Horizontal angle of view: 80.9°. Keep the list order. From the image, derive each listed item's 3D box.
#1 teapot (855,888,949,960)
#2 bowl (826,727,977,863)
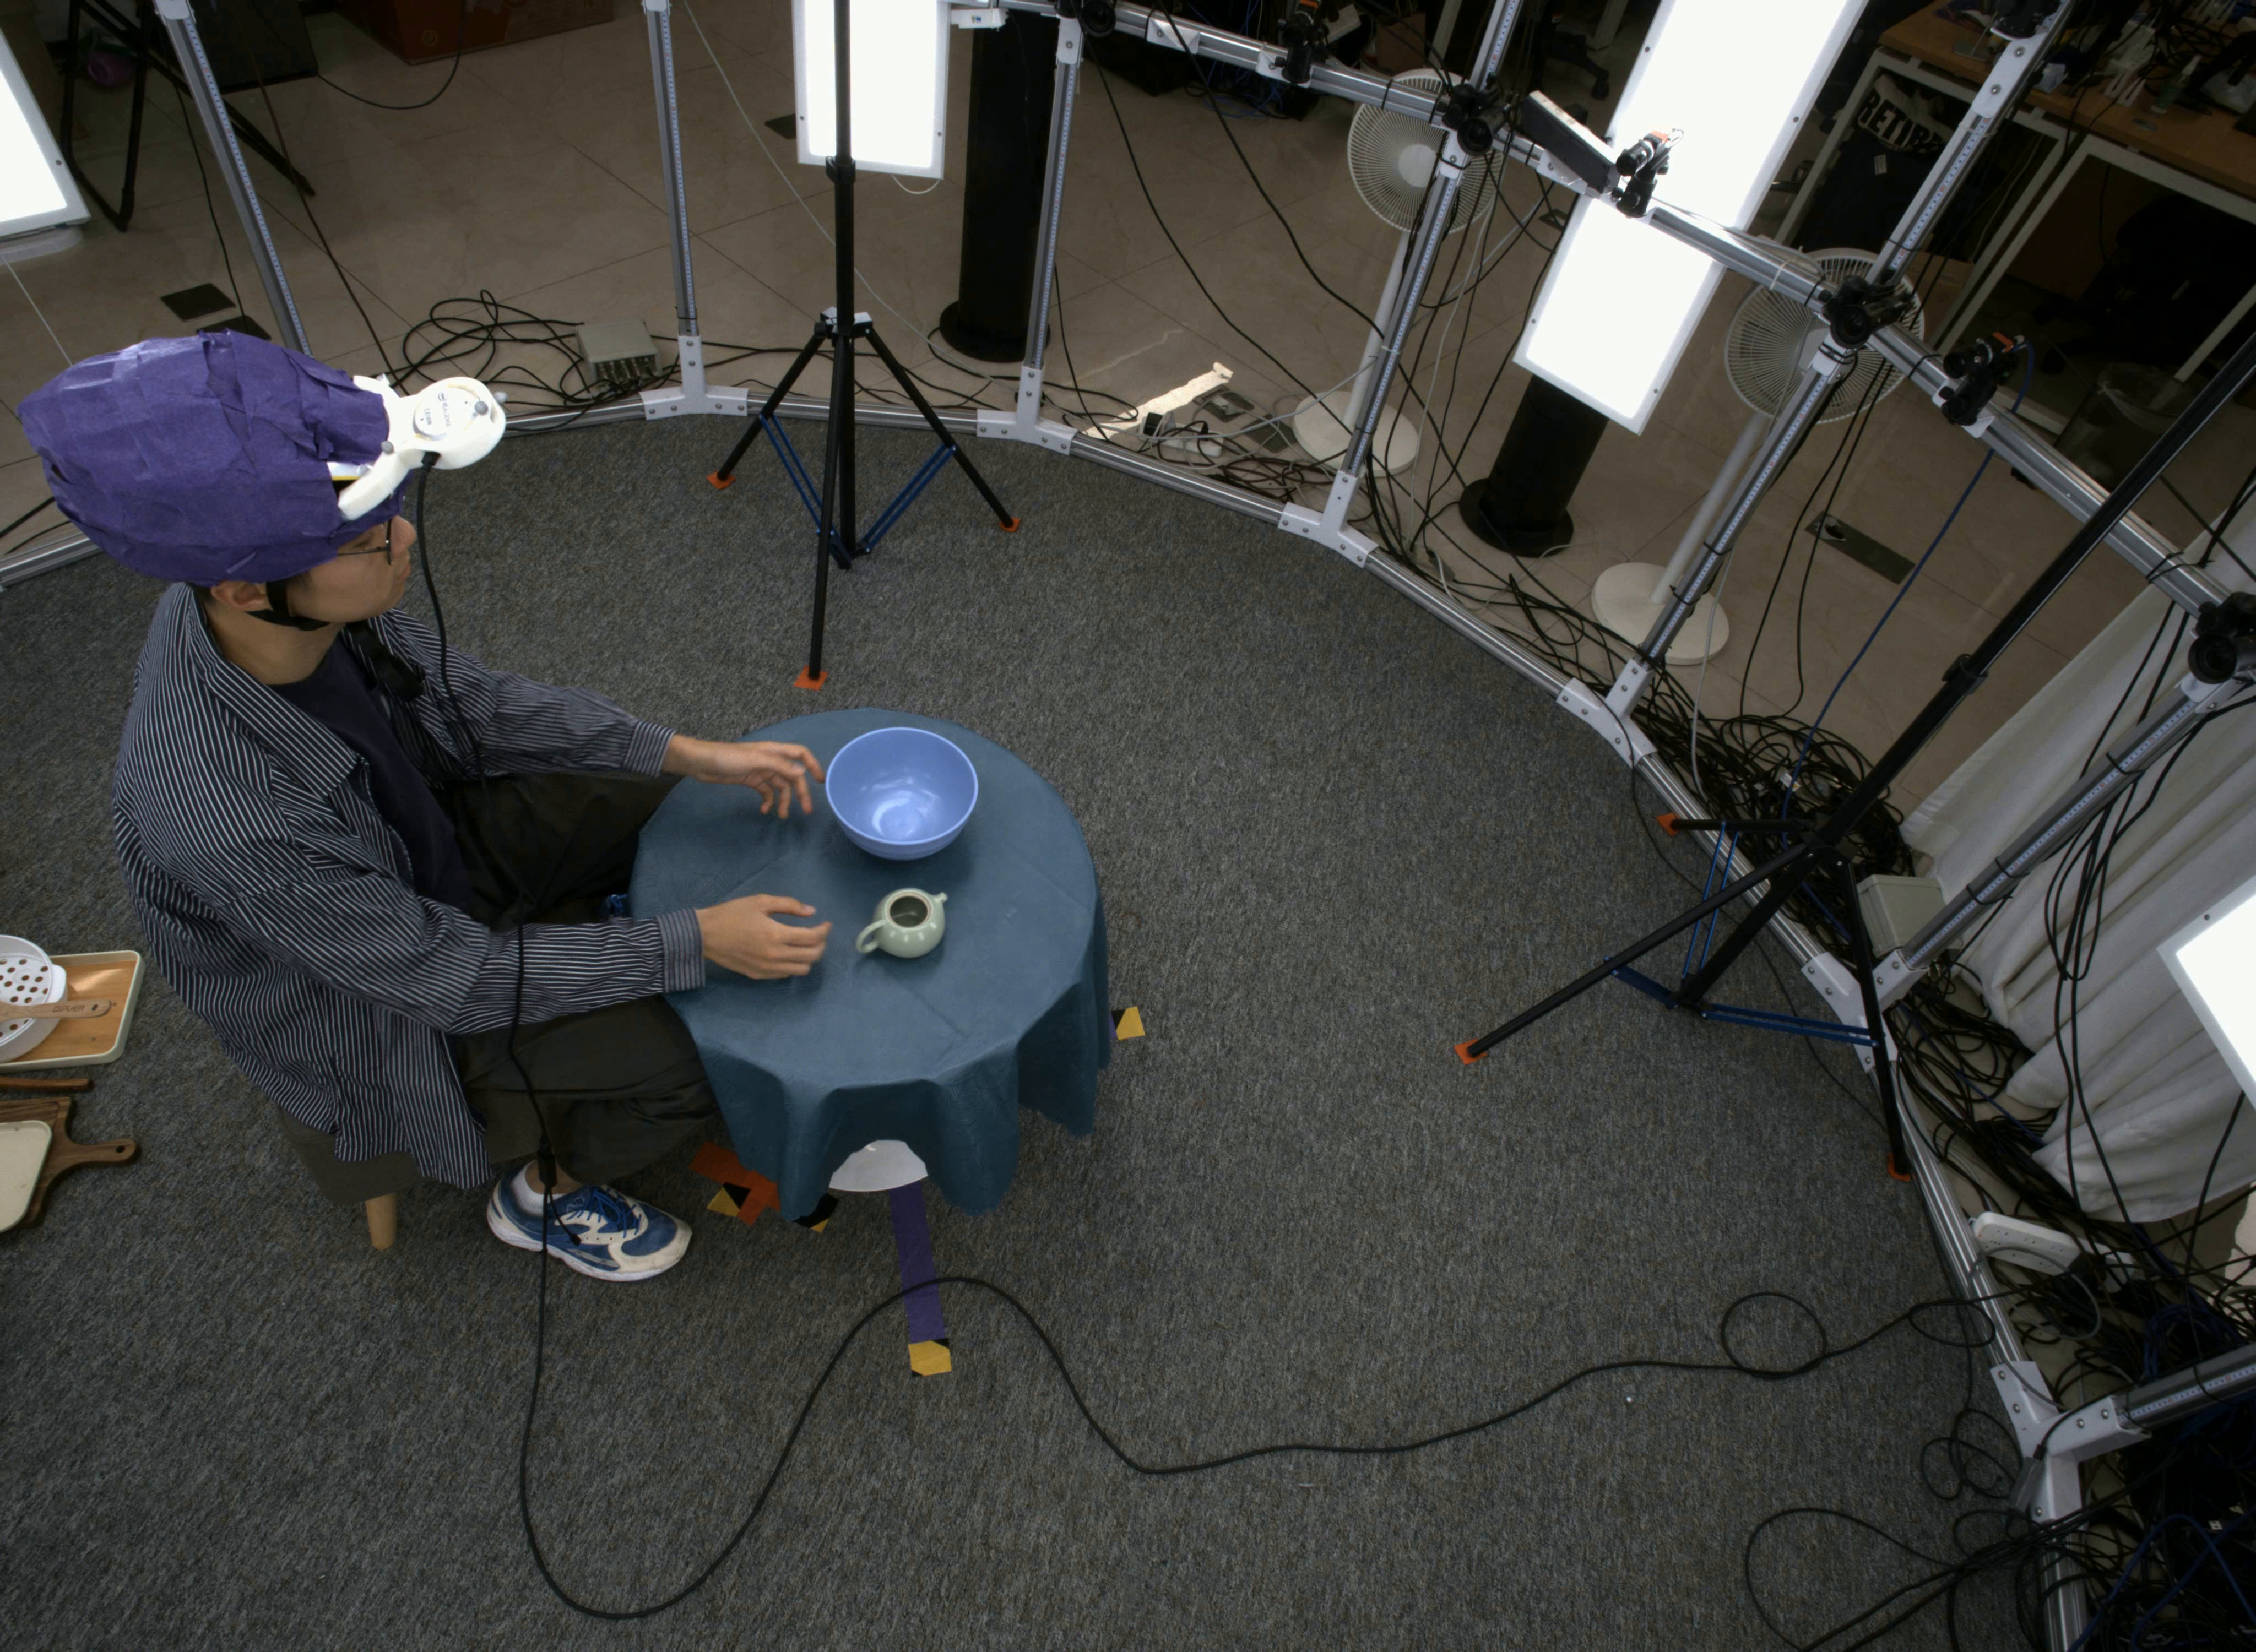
[{"bbox_3d":[-0.285,0.126,1.643,0.129,0.062,0.089,-20,62,-24],"label":"teapot"},{"bbox_3d":[-0.301,-0.026,1.731,0.196,0.097,0.193,7,53,-8],"label":"bowl"}]
